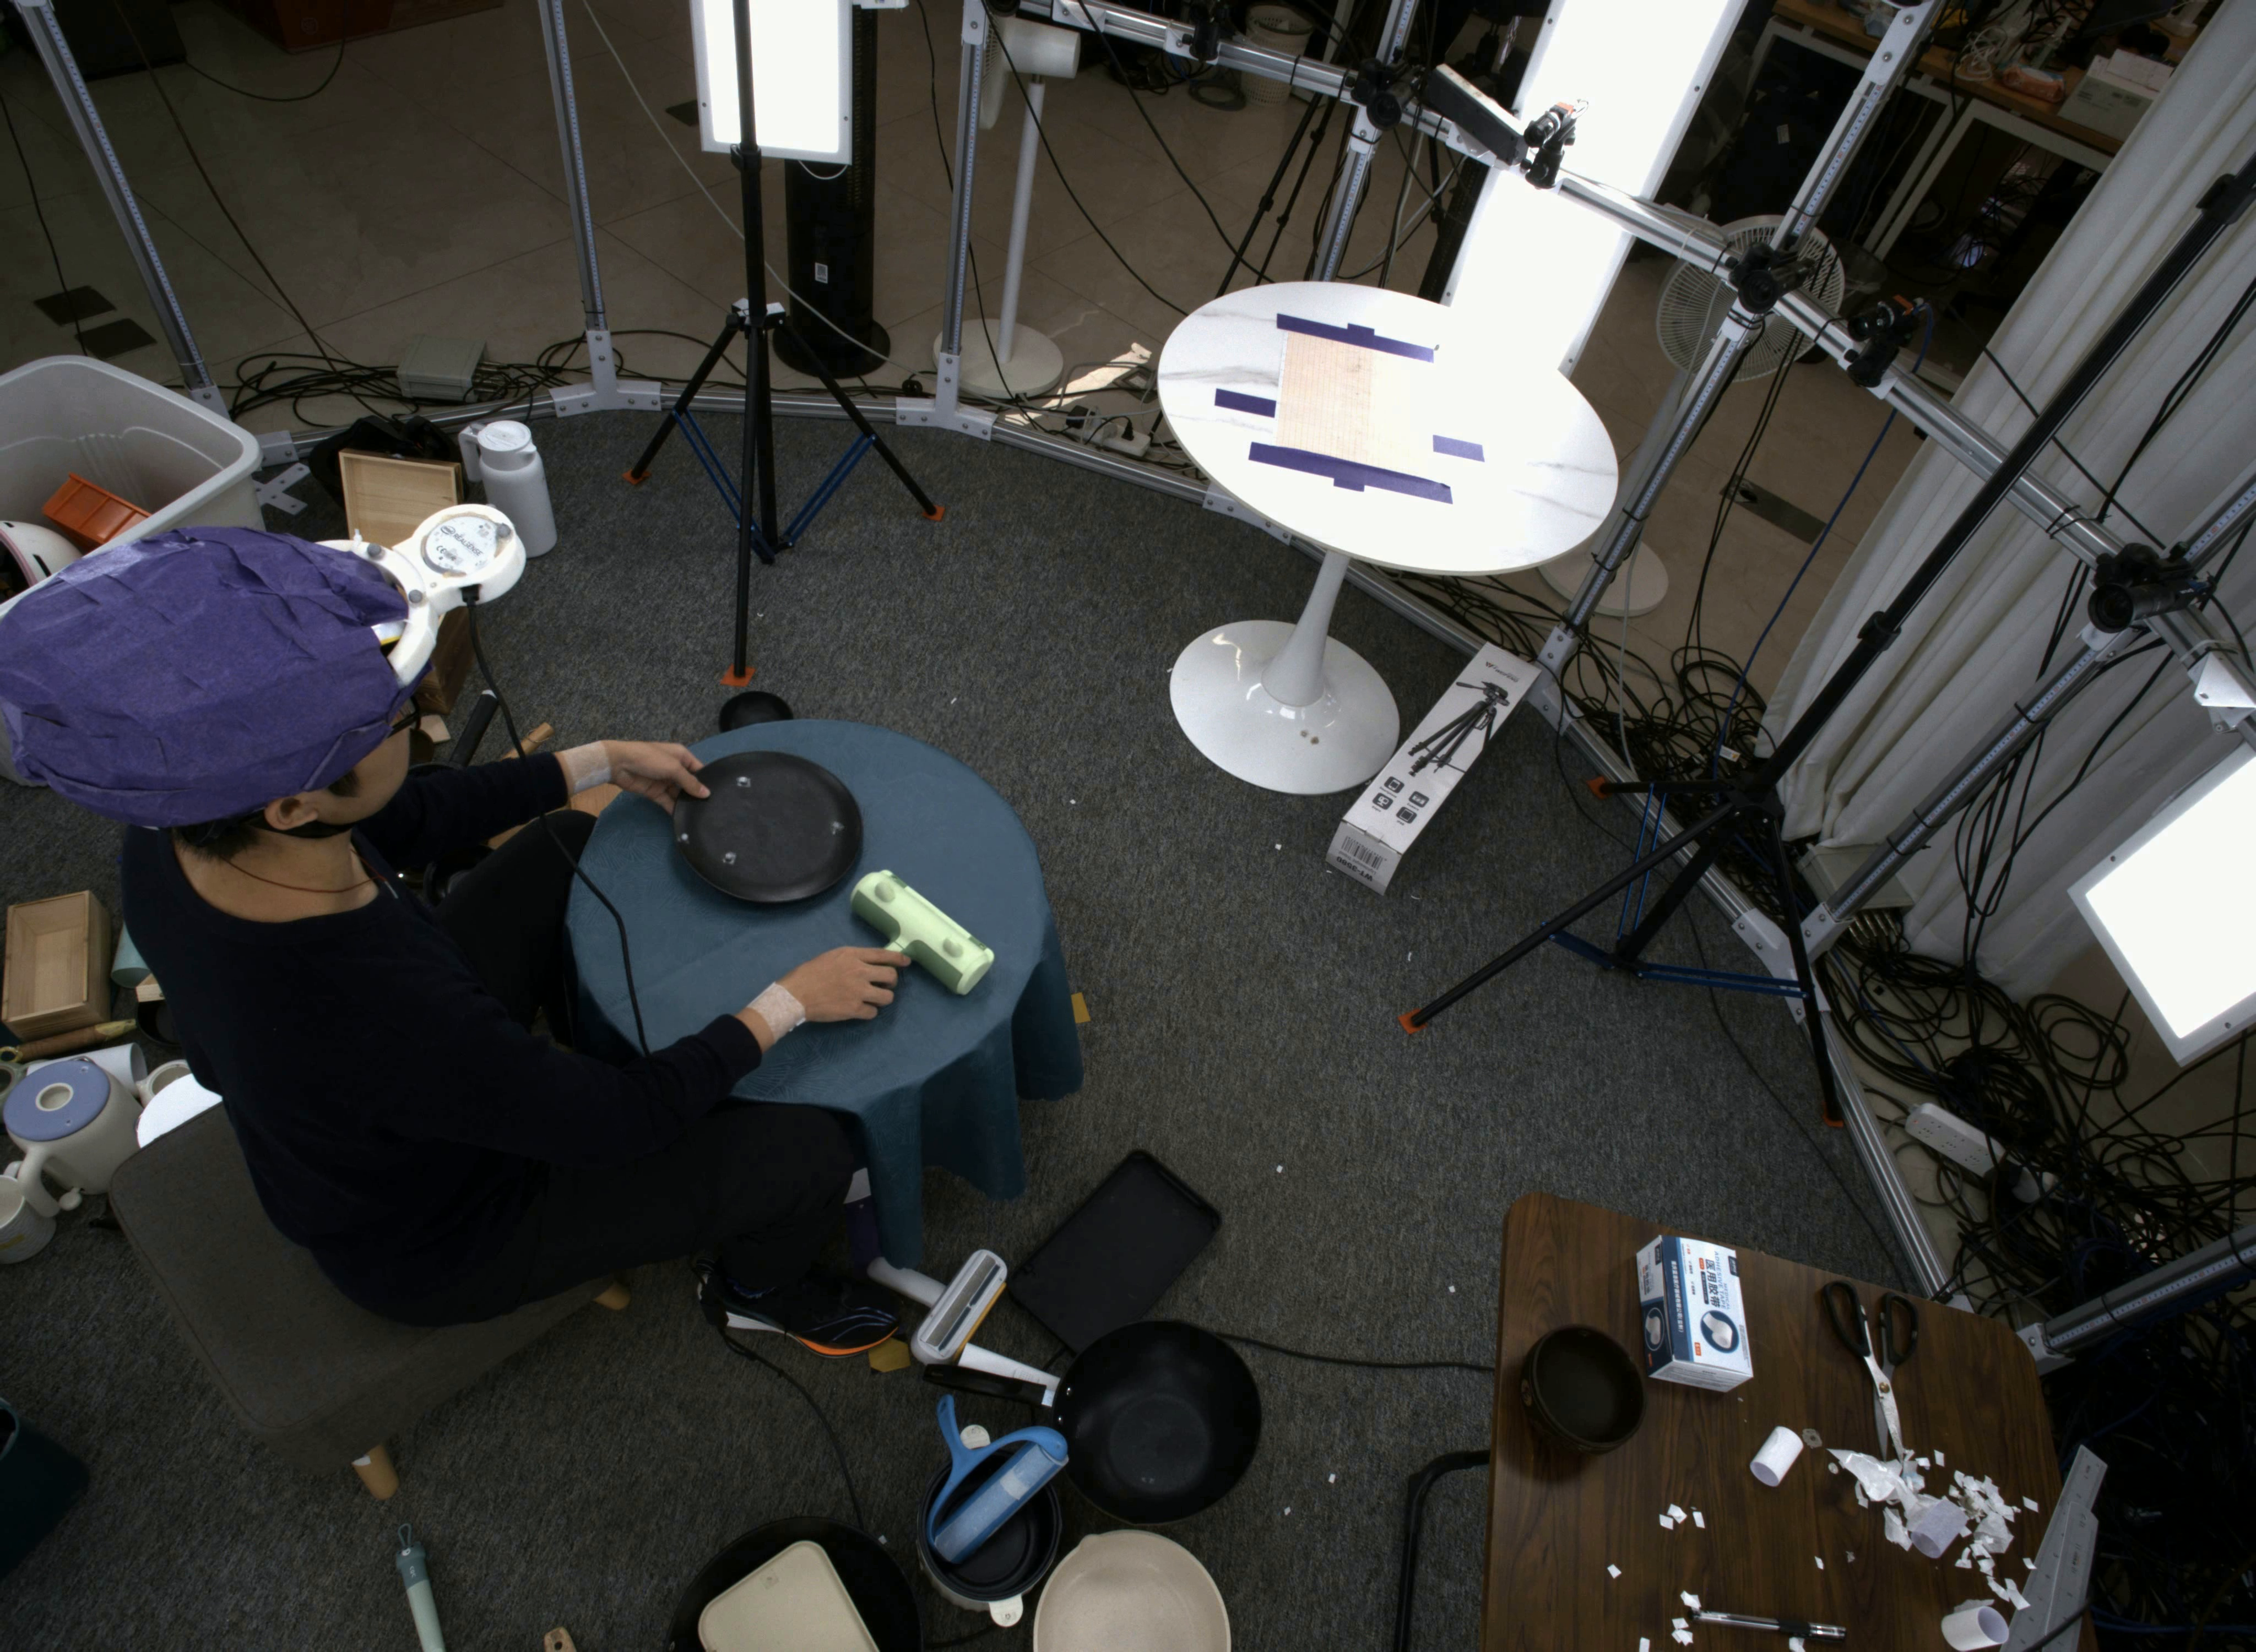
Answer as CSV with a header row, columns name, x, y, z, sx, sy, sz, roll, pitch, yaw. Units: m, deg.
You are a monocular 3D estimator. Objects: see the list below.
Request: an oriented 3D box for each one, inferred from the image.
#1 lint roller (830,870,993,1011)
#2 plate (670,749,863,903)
name,x,y,z,sx,sy,sz,roll,pitch,yaw
lint roller,-0.291,0.150,1.579,0.194,0.084,0.183,36,45,15
plate,-0.467,0.000,1.676,0.245,0.024,0.240,12,52,-14
